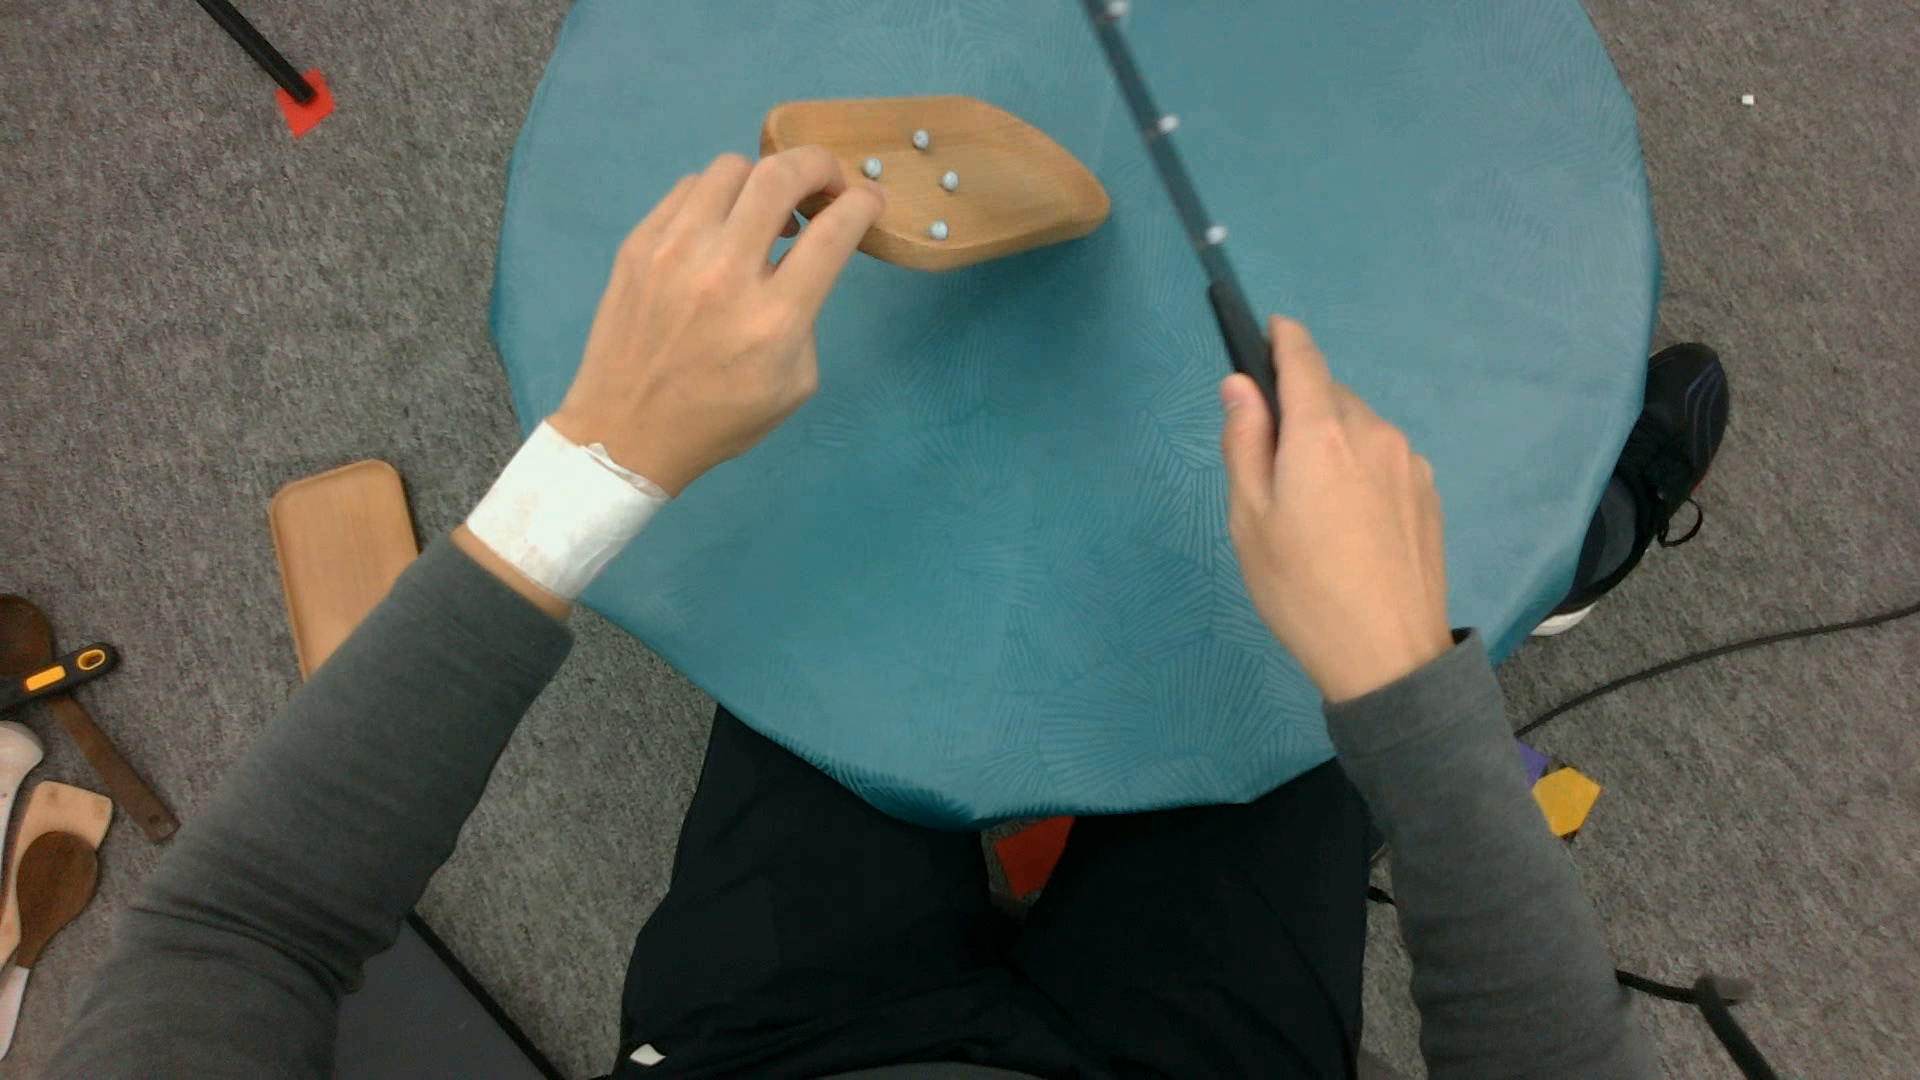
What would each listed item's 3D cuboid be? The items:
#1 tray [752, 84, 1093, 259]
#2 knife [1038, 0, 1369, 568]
[{"bbox_3d":[-0.010,-0.172,0.632,0.102,0.232,0.020,42,121,10],"label":"tray"},{"bbox_3d":[0.098,-0.124,0.592,0.021,0.081,0.303,-31,72,23],"label":"knife"}]
